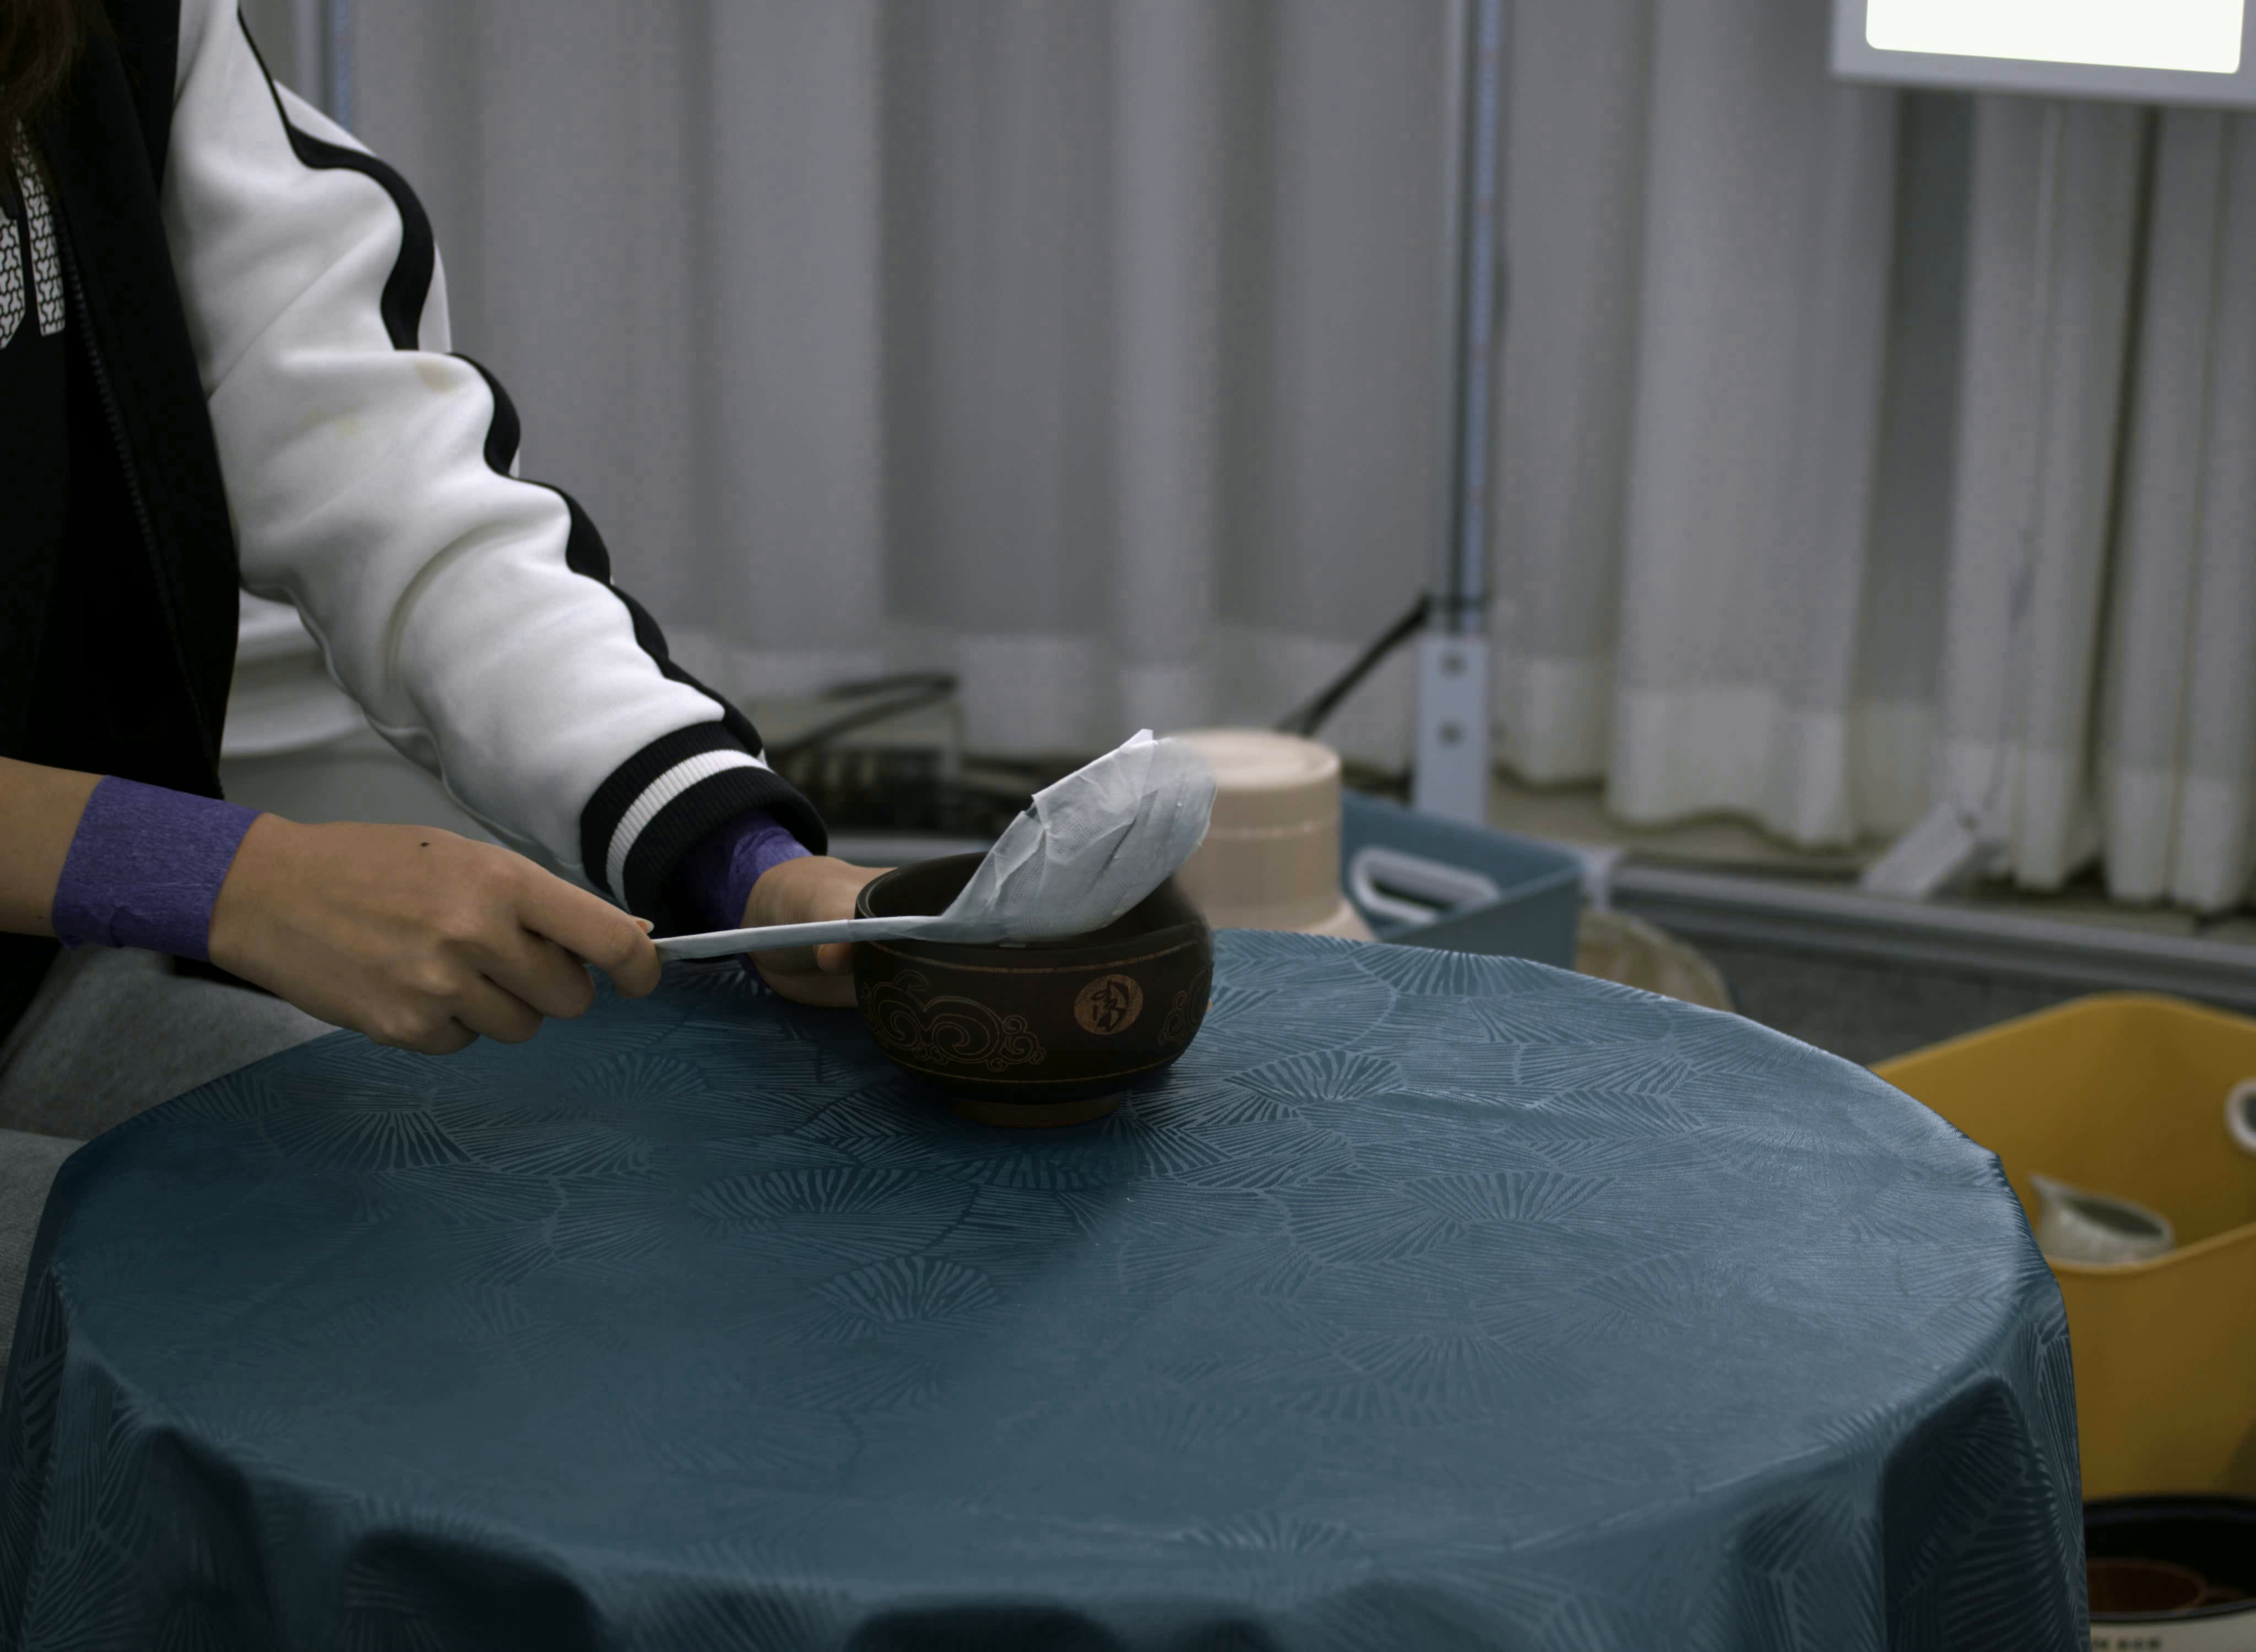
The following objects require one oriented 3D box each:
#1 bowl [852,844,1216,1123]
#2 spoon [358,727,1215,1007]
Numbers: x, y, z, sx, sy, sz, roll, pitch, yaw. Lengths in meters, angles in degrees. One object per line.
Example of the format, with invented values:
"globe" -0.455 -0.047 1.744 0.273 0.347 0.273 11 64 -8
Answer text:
"bowl" -0.030 0.054 1.694 0.117 0.070 0.117 1 16 0
"spoon" -0.107 0.017 1.657 0.276 0.059 0.102 -6 -29 10
